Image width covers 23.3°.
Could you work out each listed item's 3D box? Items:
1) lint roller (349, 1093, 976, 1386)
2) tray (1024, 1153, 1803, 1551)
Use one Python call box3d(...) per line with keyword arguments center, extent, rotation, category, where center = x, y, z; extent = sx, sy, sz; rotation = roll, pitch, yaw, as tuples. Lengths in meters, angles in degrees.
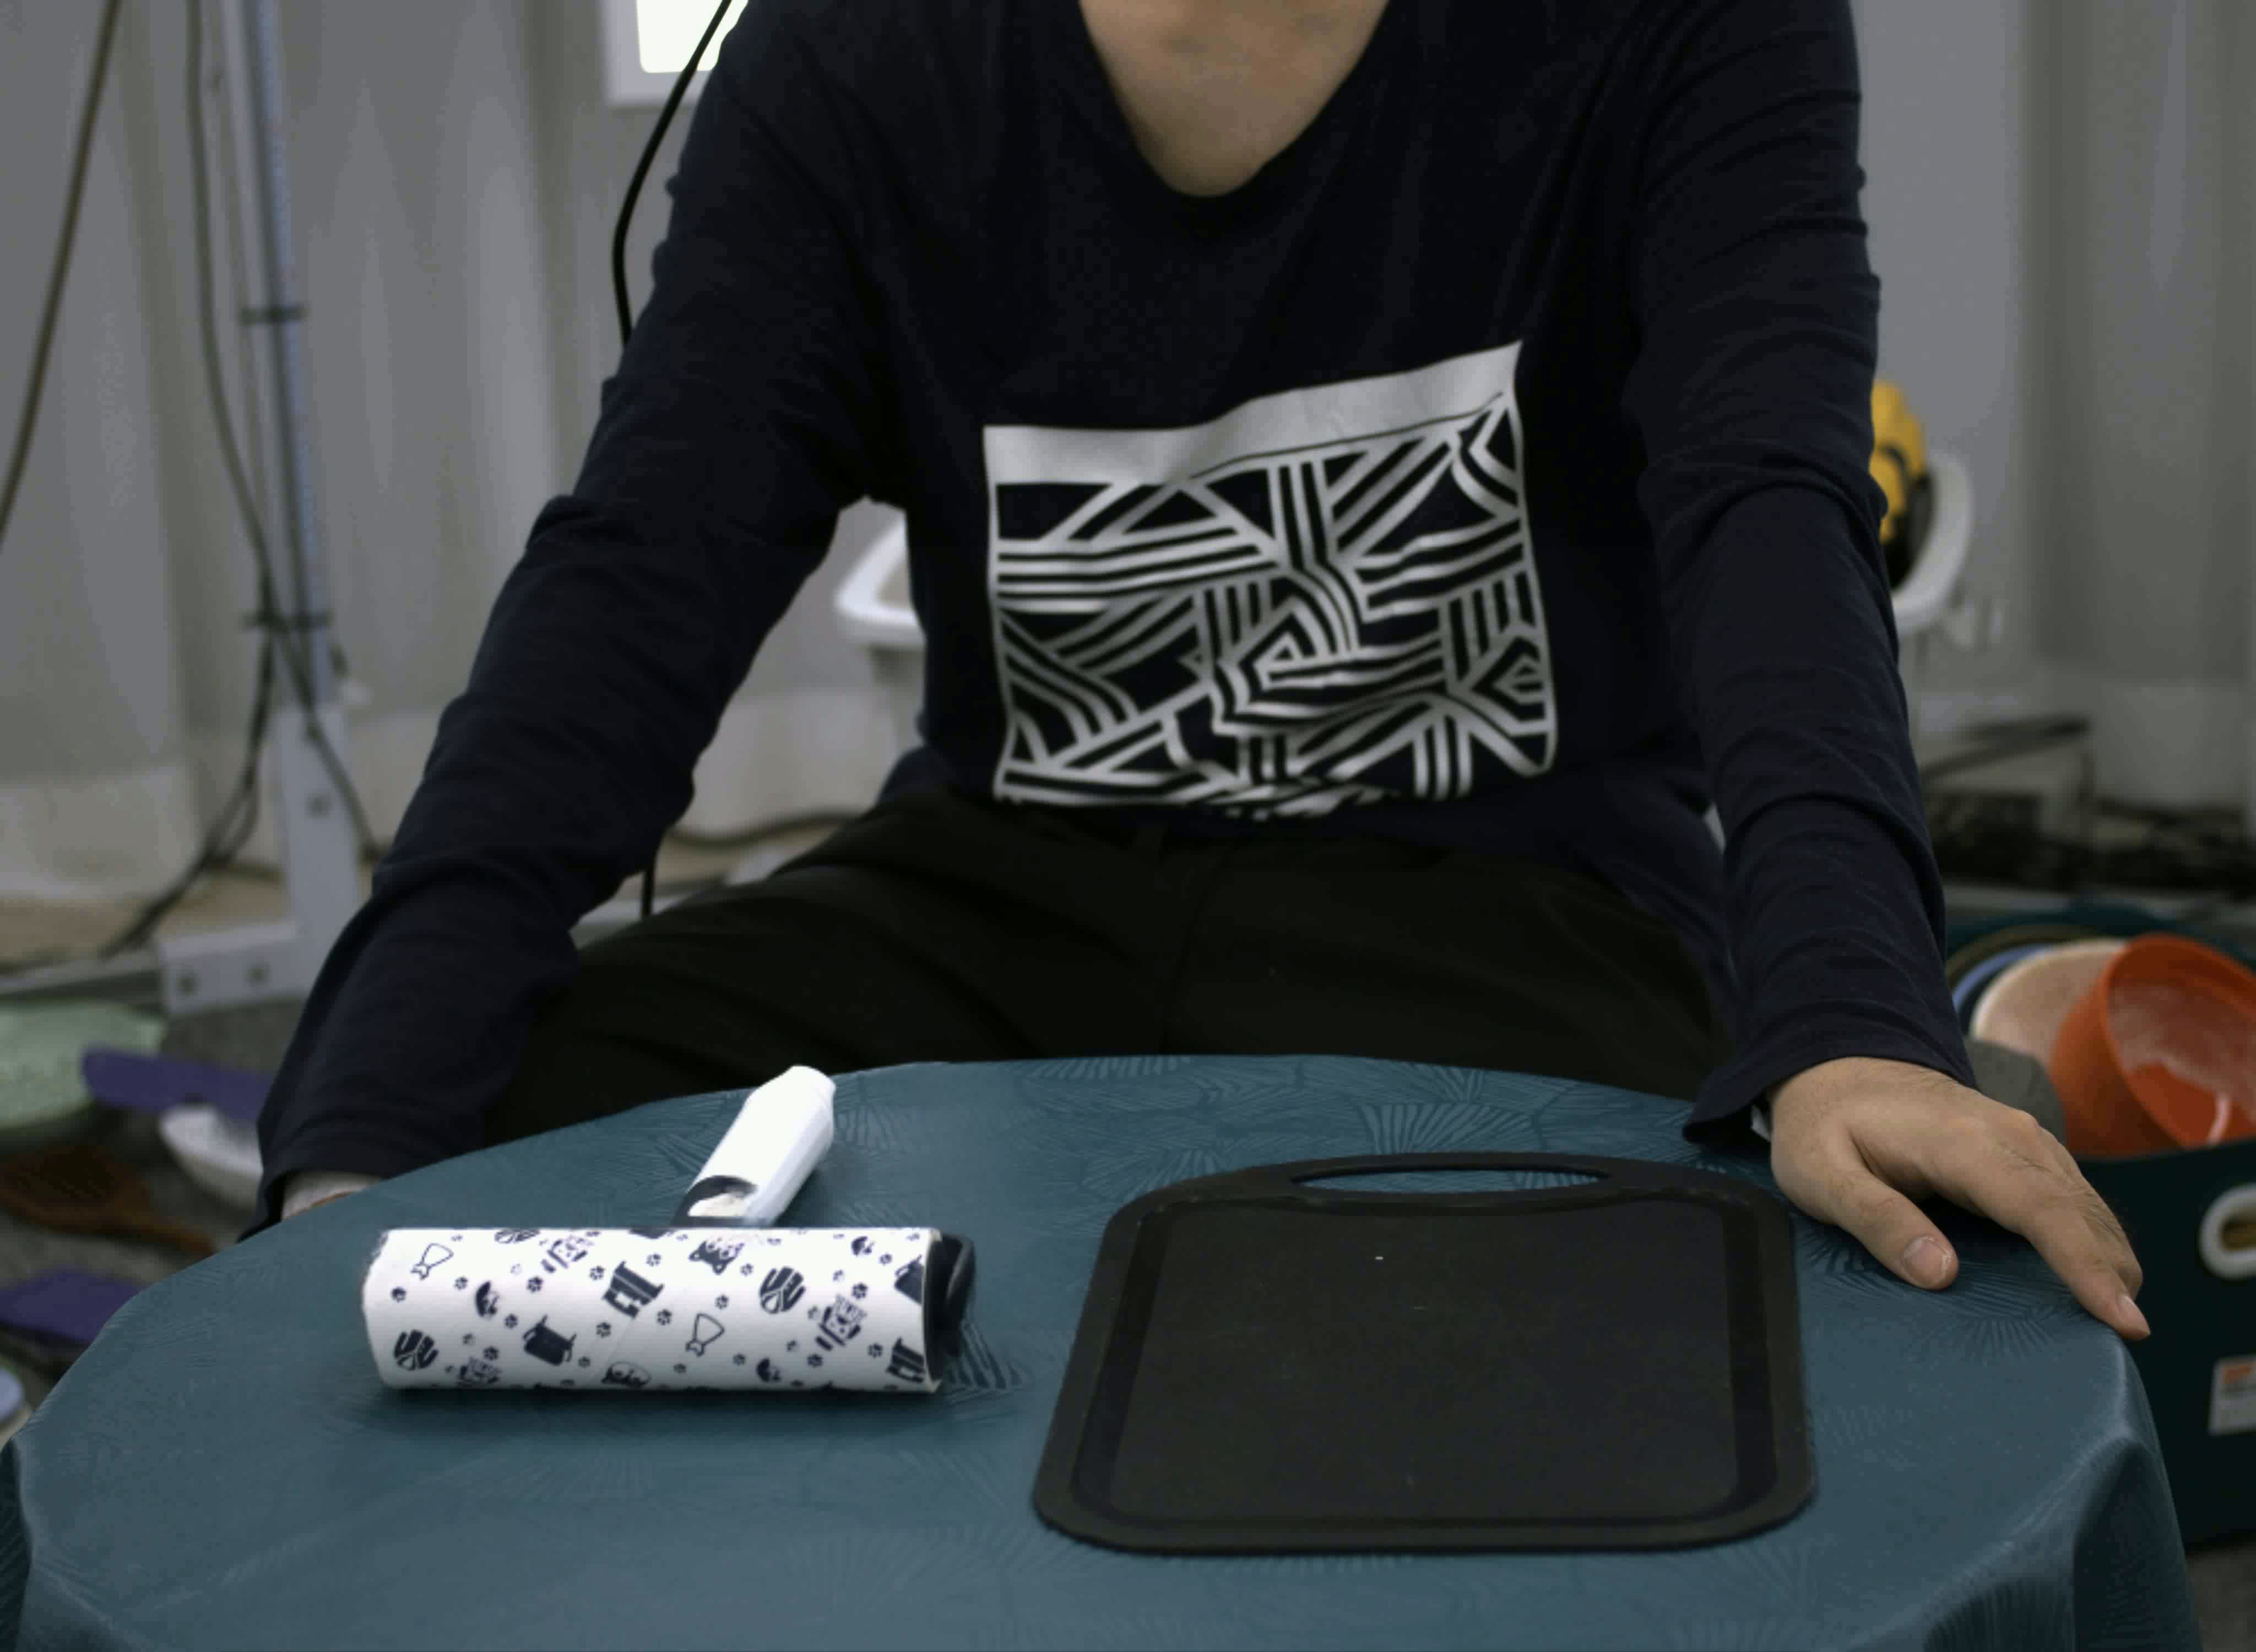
box3d(center=(-0.122, 0.115, 1.660), extent=(0.176, 0.050, 0.248), rotation=(-2, 12, 7), category="lint roller")
box3d(center=(0.087, 0.145, 1.575), extent=(0.210, 0.010, 0.327), rotation=(-1, 15, 6), category="tray")
